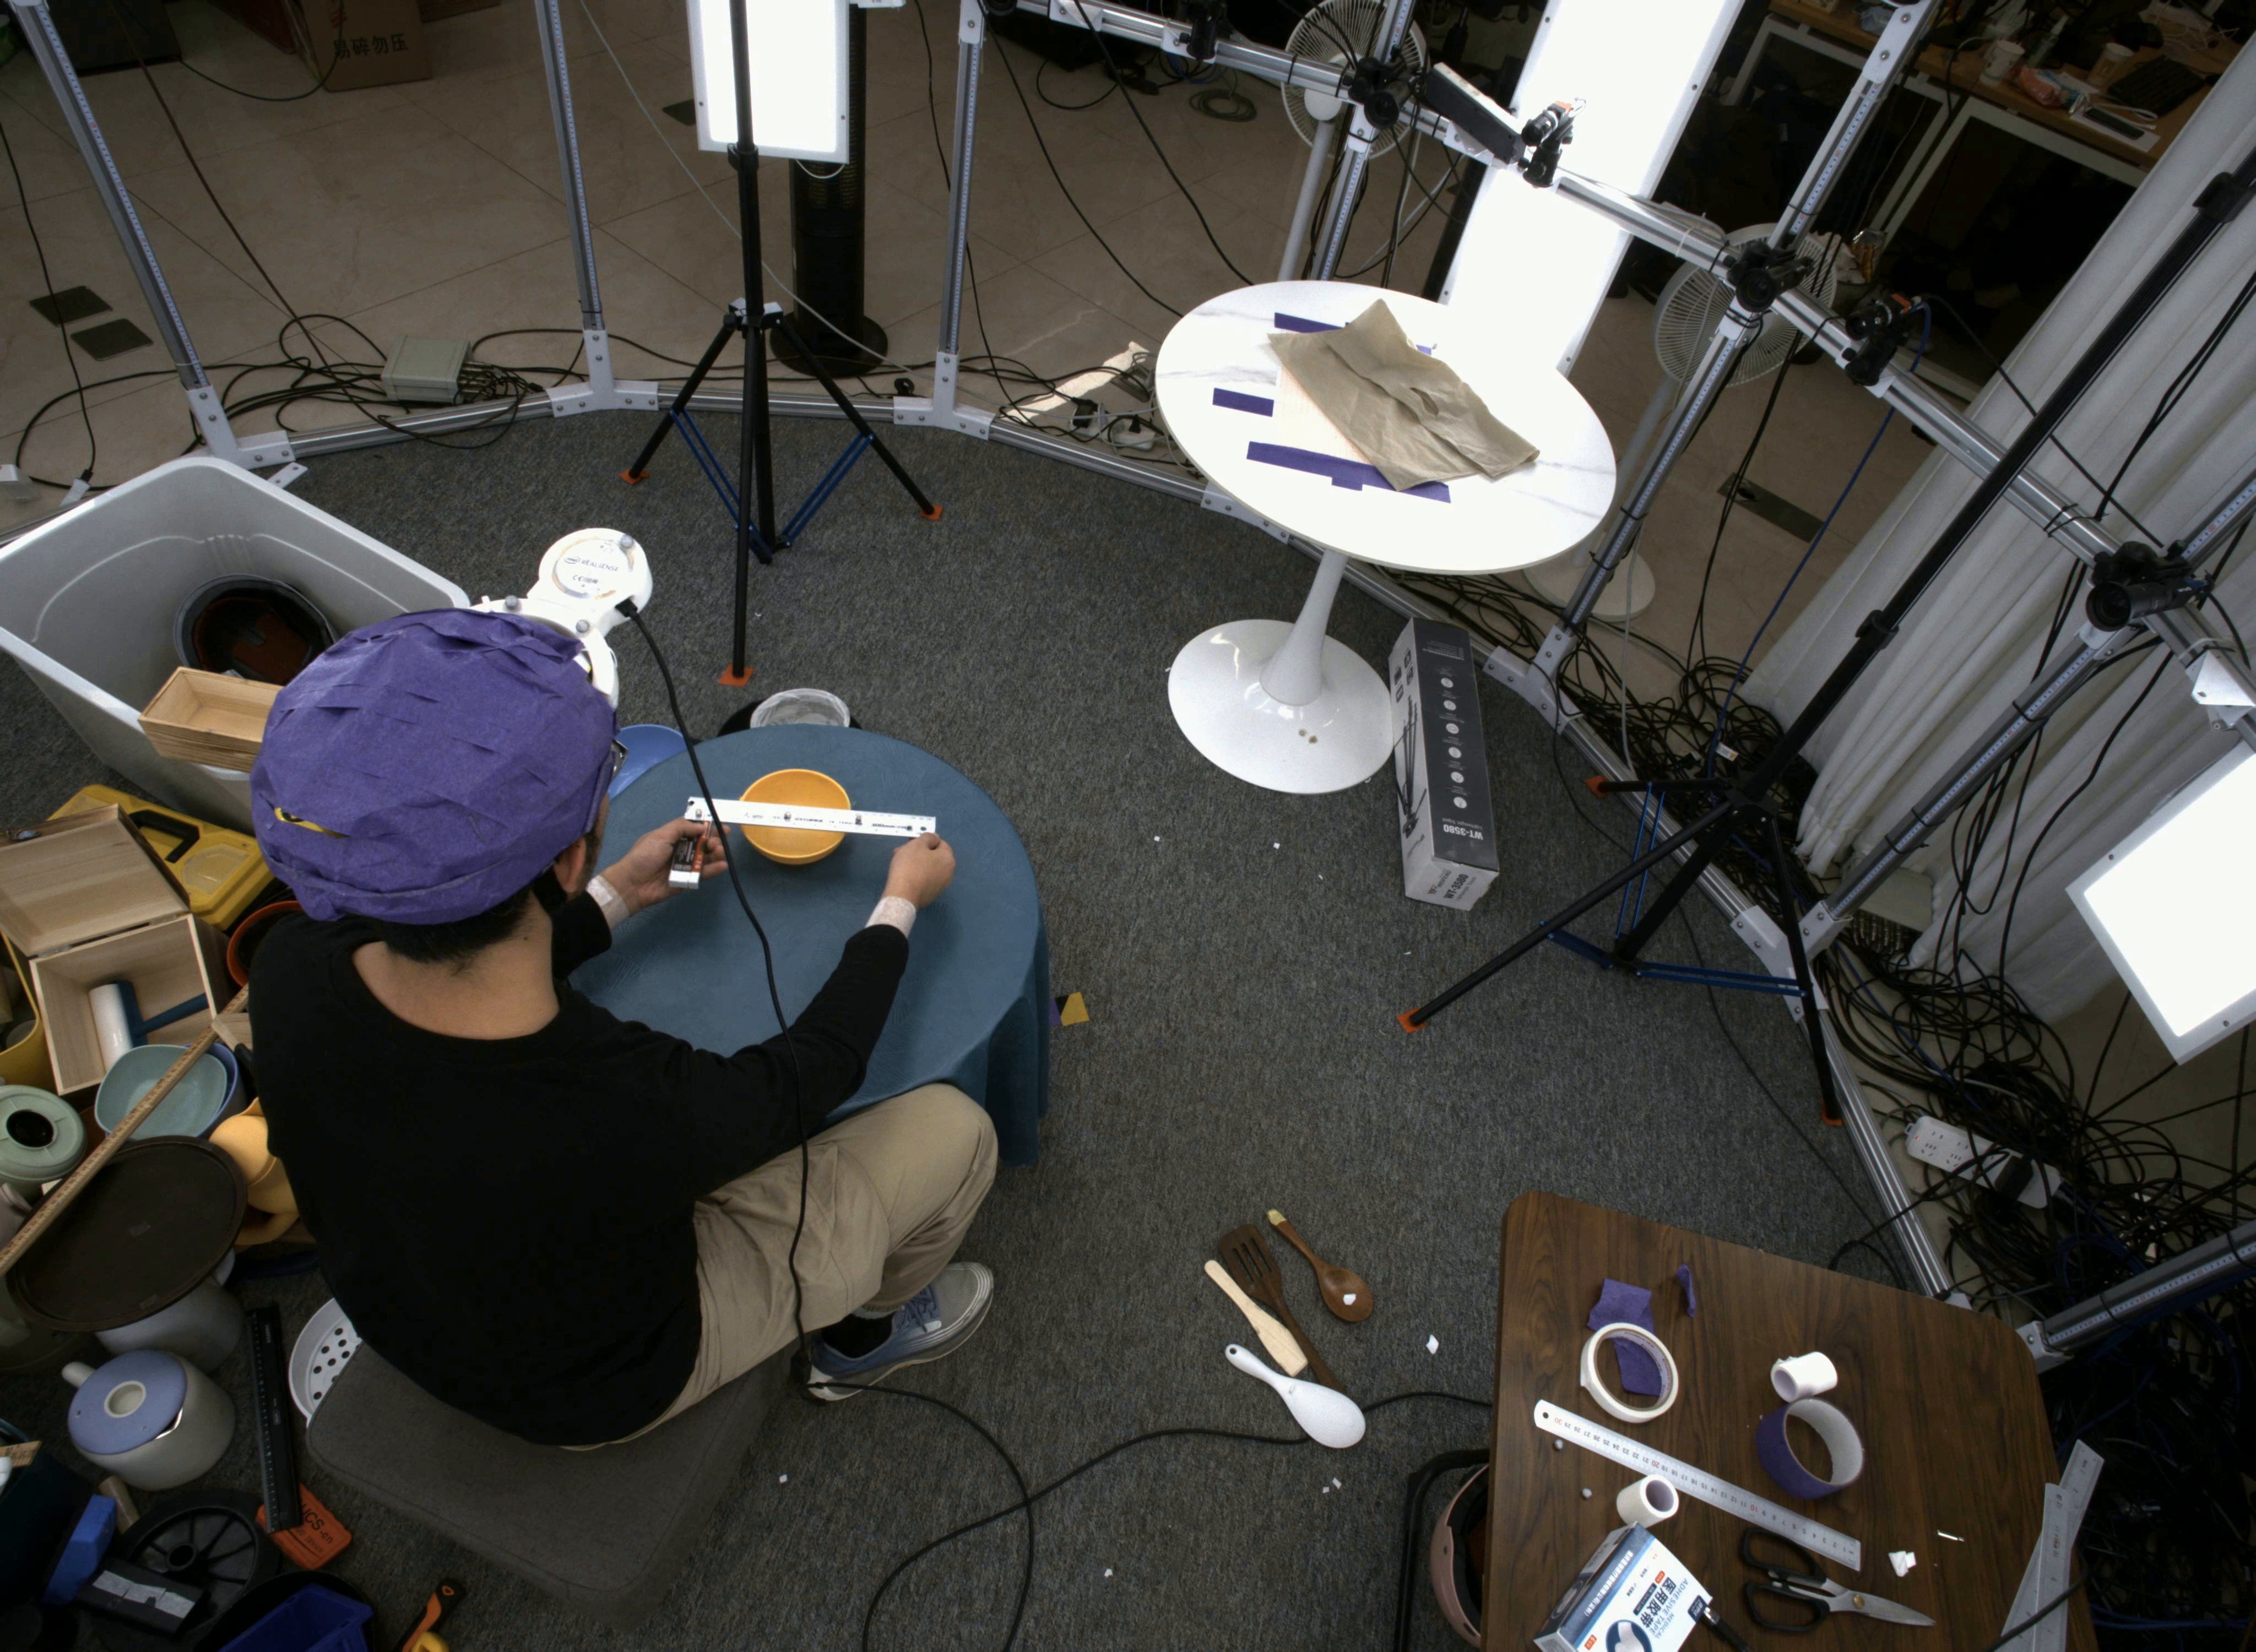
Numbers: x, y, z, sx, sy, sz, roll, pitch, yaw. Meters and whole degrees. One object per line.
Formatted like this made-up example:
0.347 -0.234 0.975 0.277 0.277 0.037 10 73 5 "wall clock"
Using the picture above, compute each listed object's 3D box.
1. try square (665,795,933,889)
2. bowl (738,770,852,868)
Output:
-0.400 0.025 1.599 0.313 0.016 0.149 5 45 -12 "try square"
-0.429 0.001 1.682 0.145 0.061 0.143 6 55 -7 "bowl"
